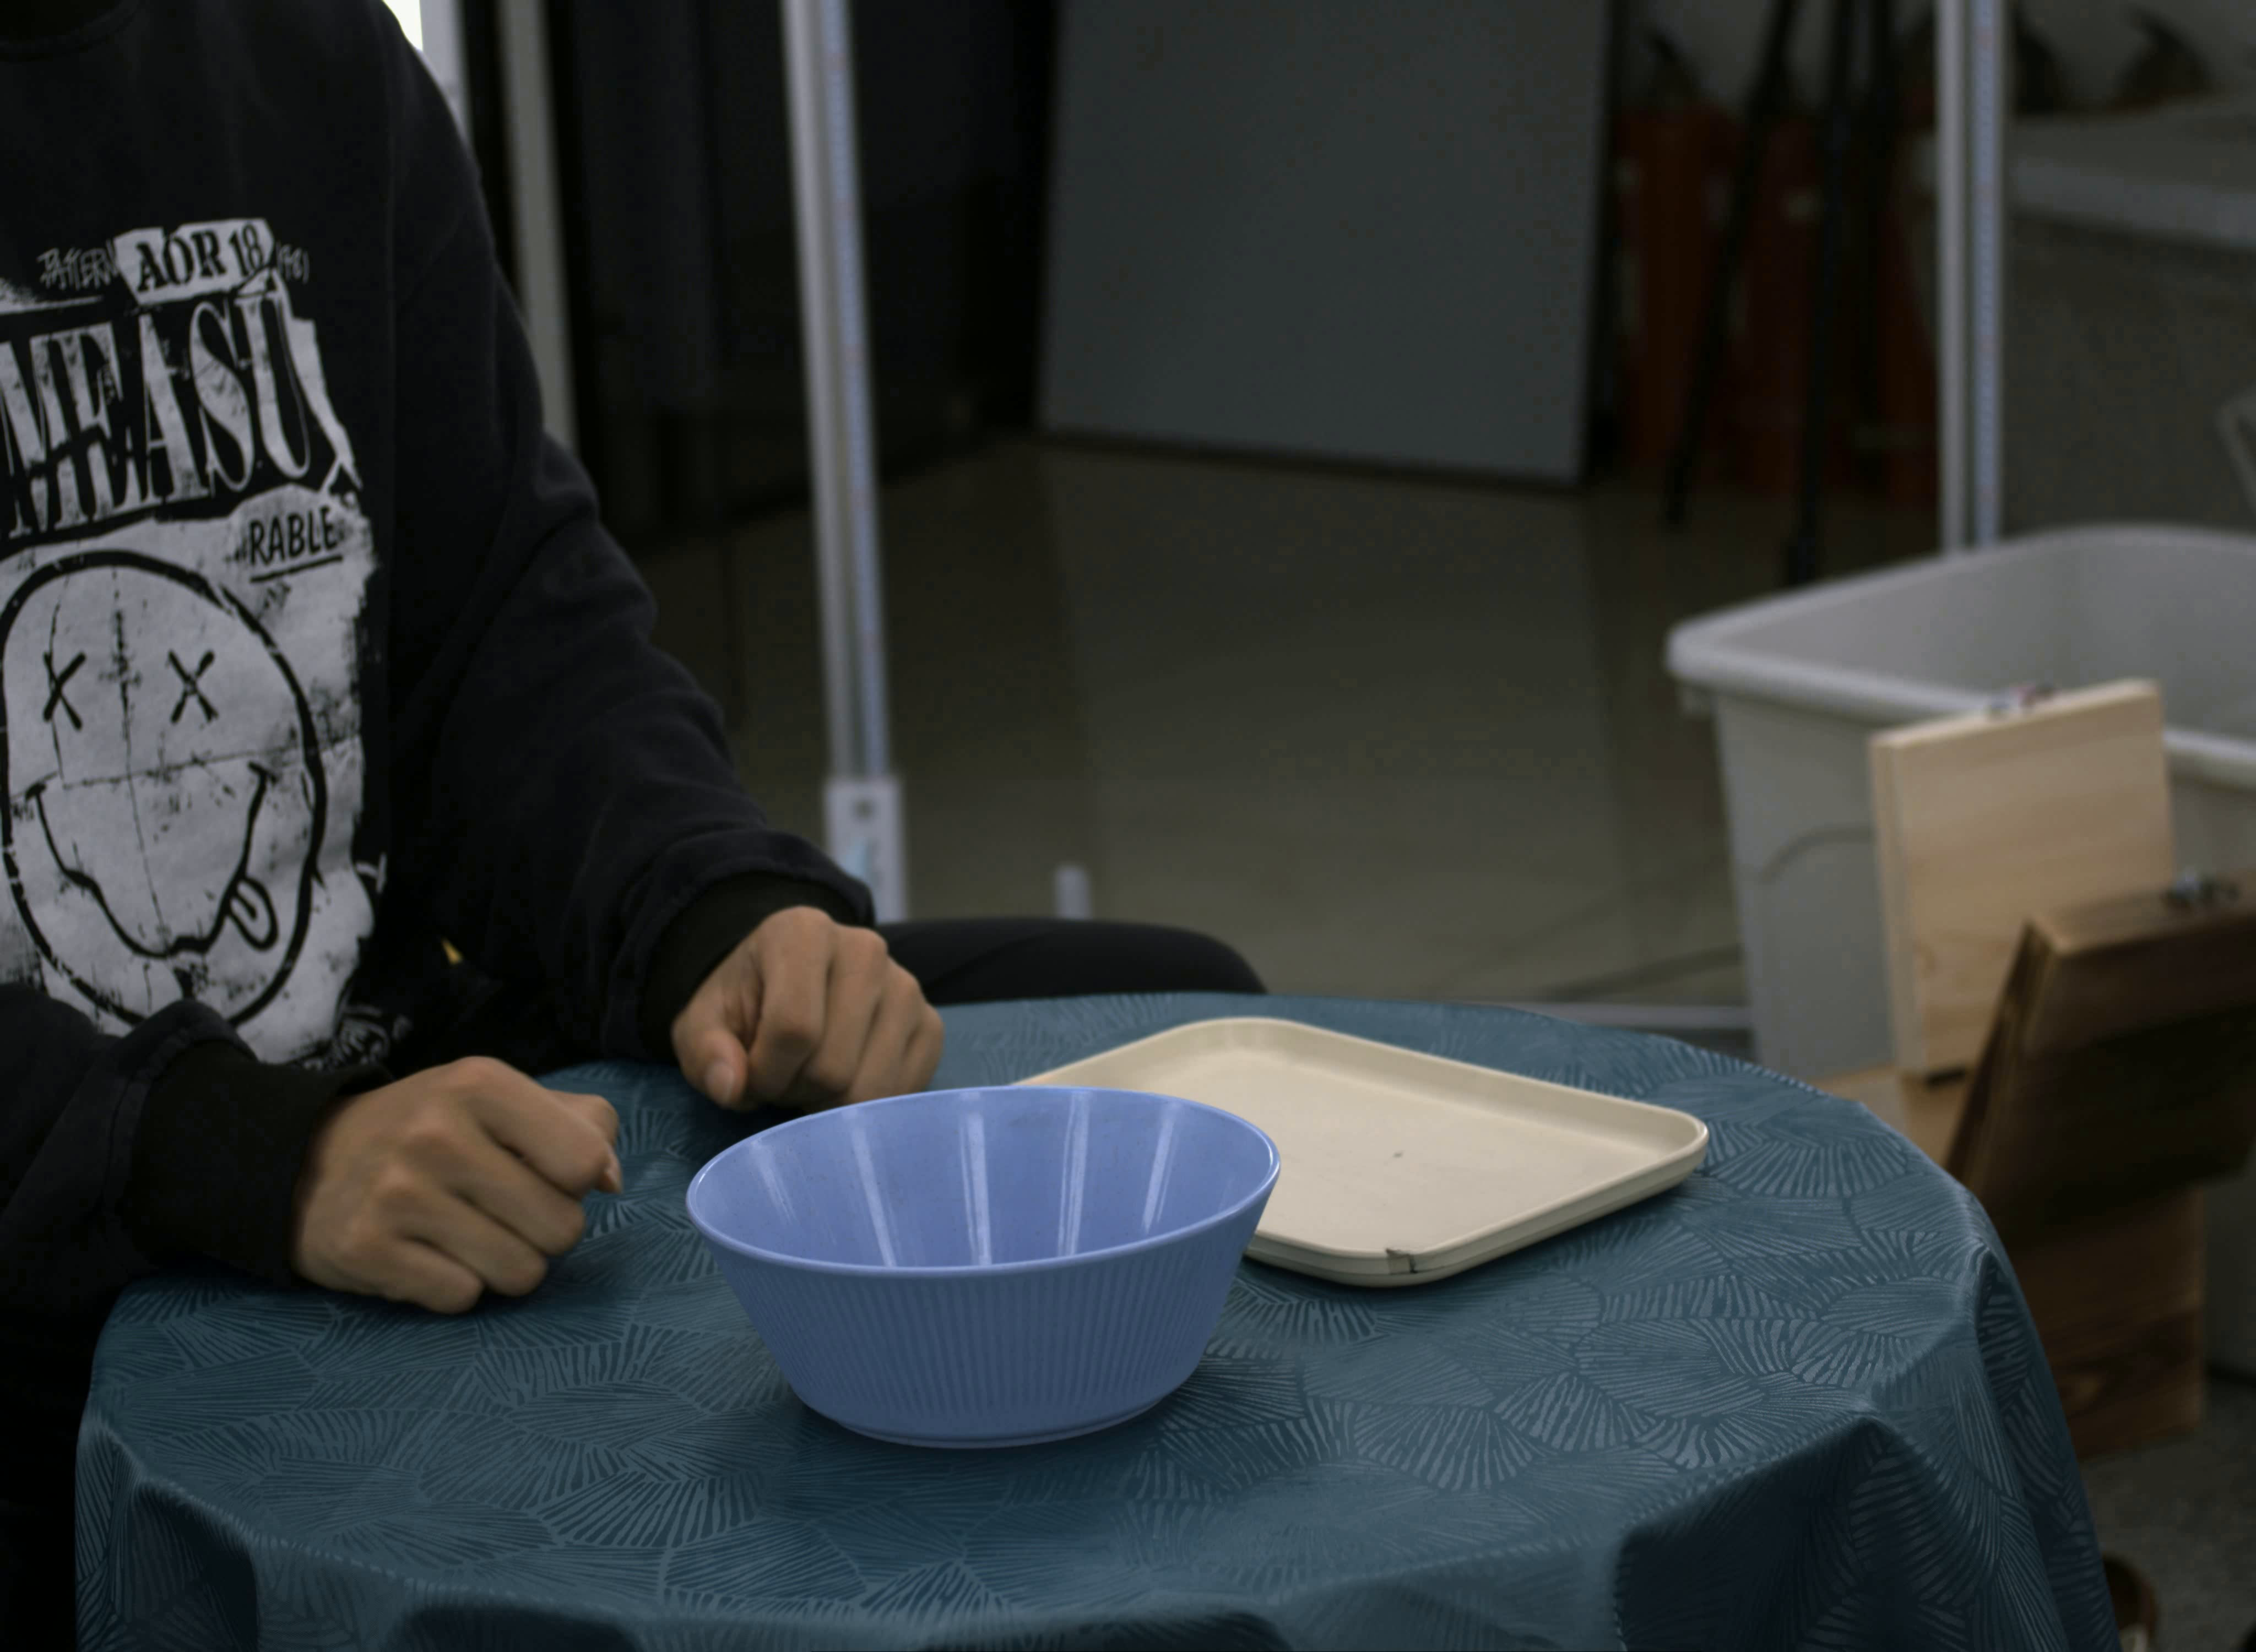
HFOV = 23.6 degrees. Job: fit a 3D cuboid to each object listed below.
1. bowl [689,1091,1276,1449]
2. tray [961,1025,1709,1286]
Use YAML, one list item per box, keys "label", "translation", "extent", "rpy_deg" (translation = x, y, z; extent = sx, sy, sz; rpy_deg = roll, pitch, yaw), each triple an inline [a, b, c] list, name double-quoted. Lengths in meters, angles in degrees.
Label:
- label: "bowl"
  translation: [-0.041, 0.133, 1.587]
  extent: [0.174, 0.071, 0.176]
  rpy_deg: [-4, 13, 0]
- label: "tray"
  translation: [0.060, 0.107, 1.773]
  extent: [0.167, 0.017, 0.242]
  rpy_deg: [-15, 18, -41]
